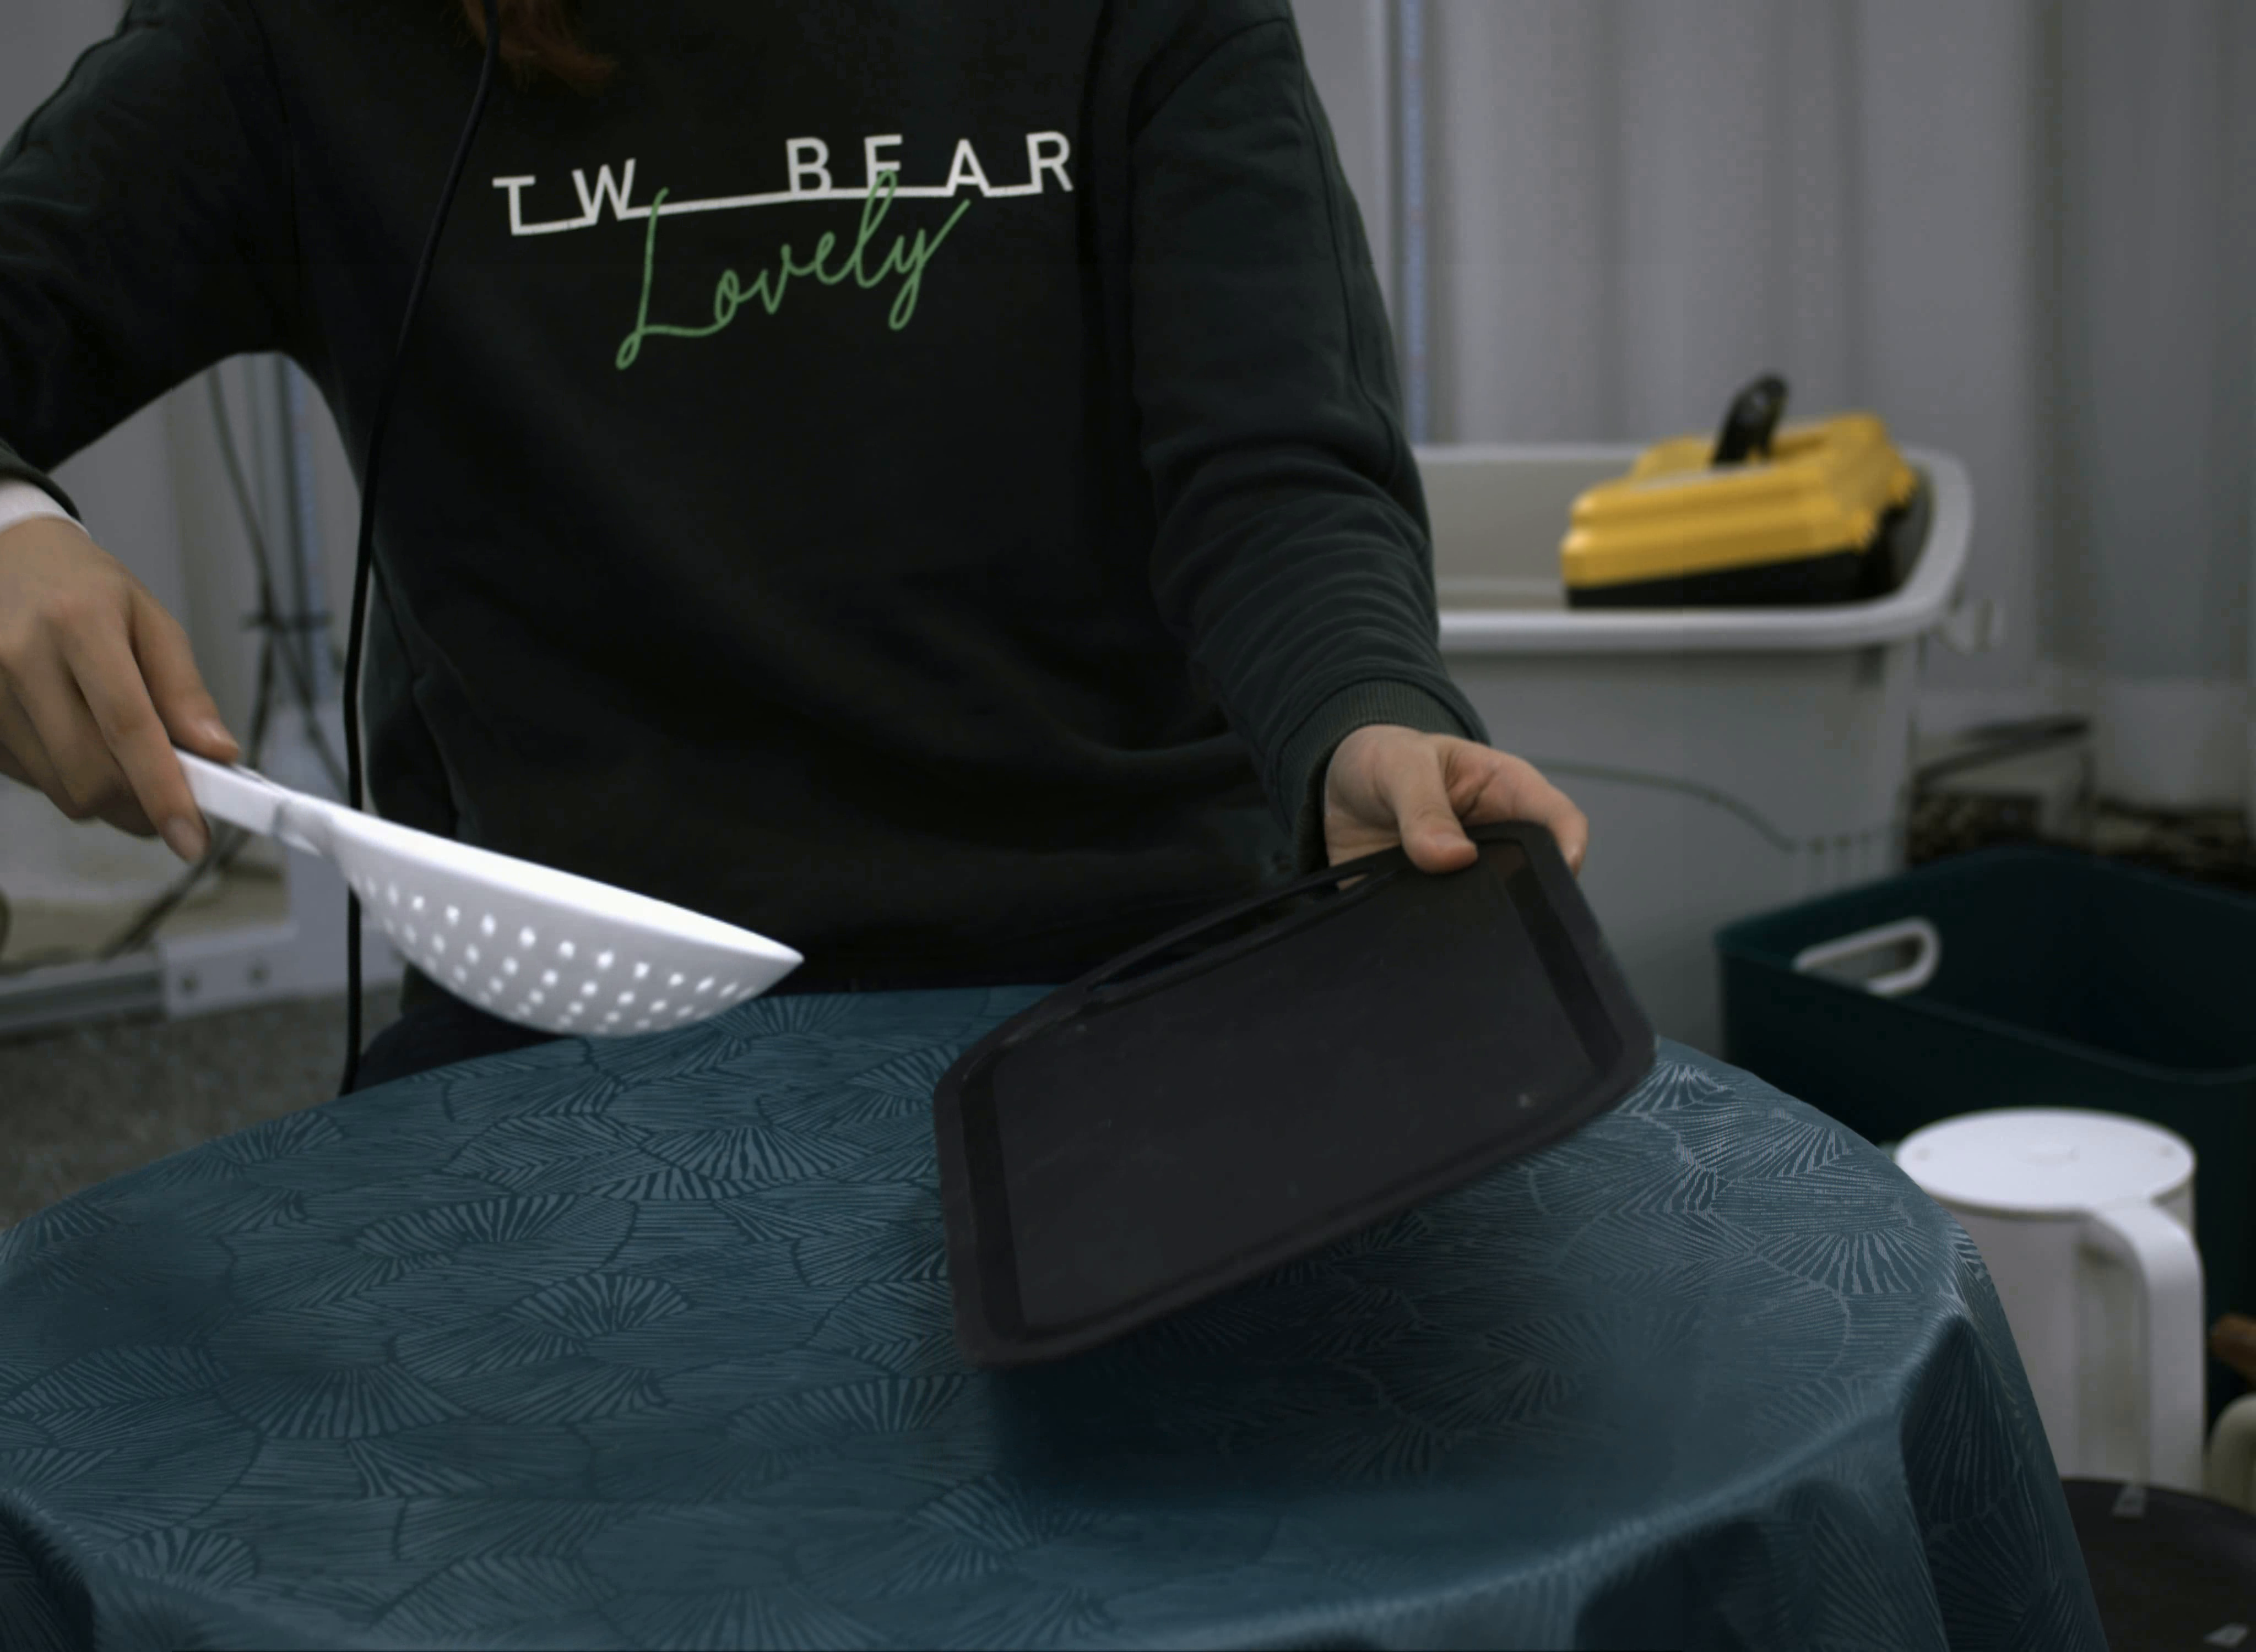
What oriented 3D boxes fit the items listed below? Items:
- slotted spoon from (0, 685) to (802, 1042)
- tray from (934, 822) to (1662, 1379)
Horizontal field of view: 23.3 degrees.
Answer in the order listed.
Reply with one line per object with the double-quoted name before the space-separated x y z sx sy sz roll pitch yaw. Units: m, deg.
"slotted spoon" -0.230 0.002 1.588 0.135 0.046 0.353 15 7 -45
"tray" 0.041 0.071 1.595 0.210 0.010 0.328 -24 16 3
